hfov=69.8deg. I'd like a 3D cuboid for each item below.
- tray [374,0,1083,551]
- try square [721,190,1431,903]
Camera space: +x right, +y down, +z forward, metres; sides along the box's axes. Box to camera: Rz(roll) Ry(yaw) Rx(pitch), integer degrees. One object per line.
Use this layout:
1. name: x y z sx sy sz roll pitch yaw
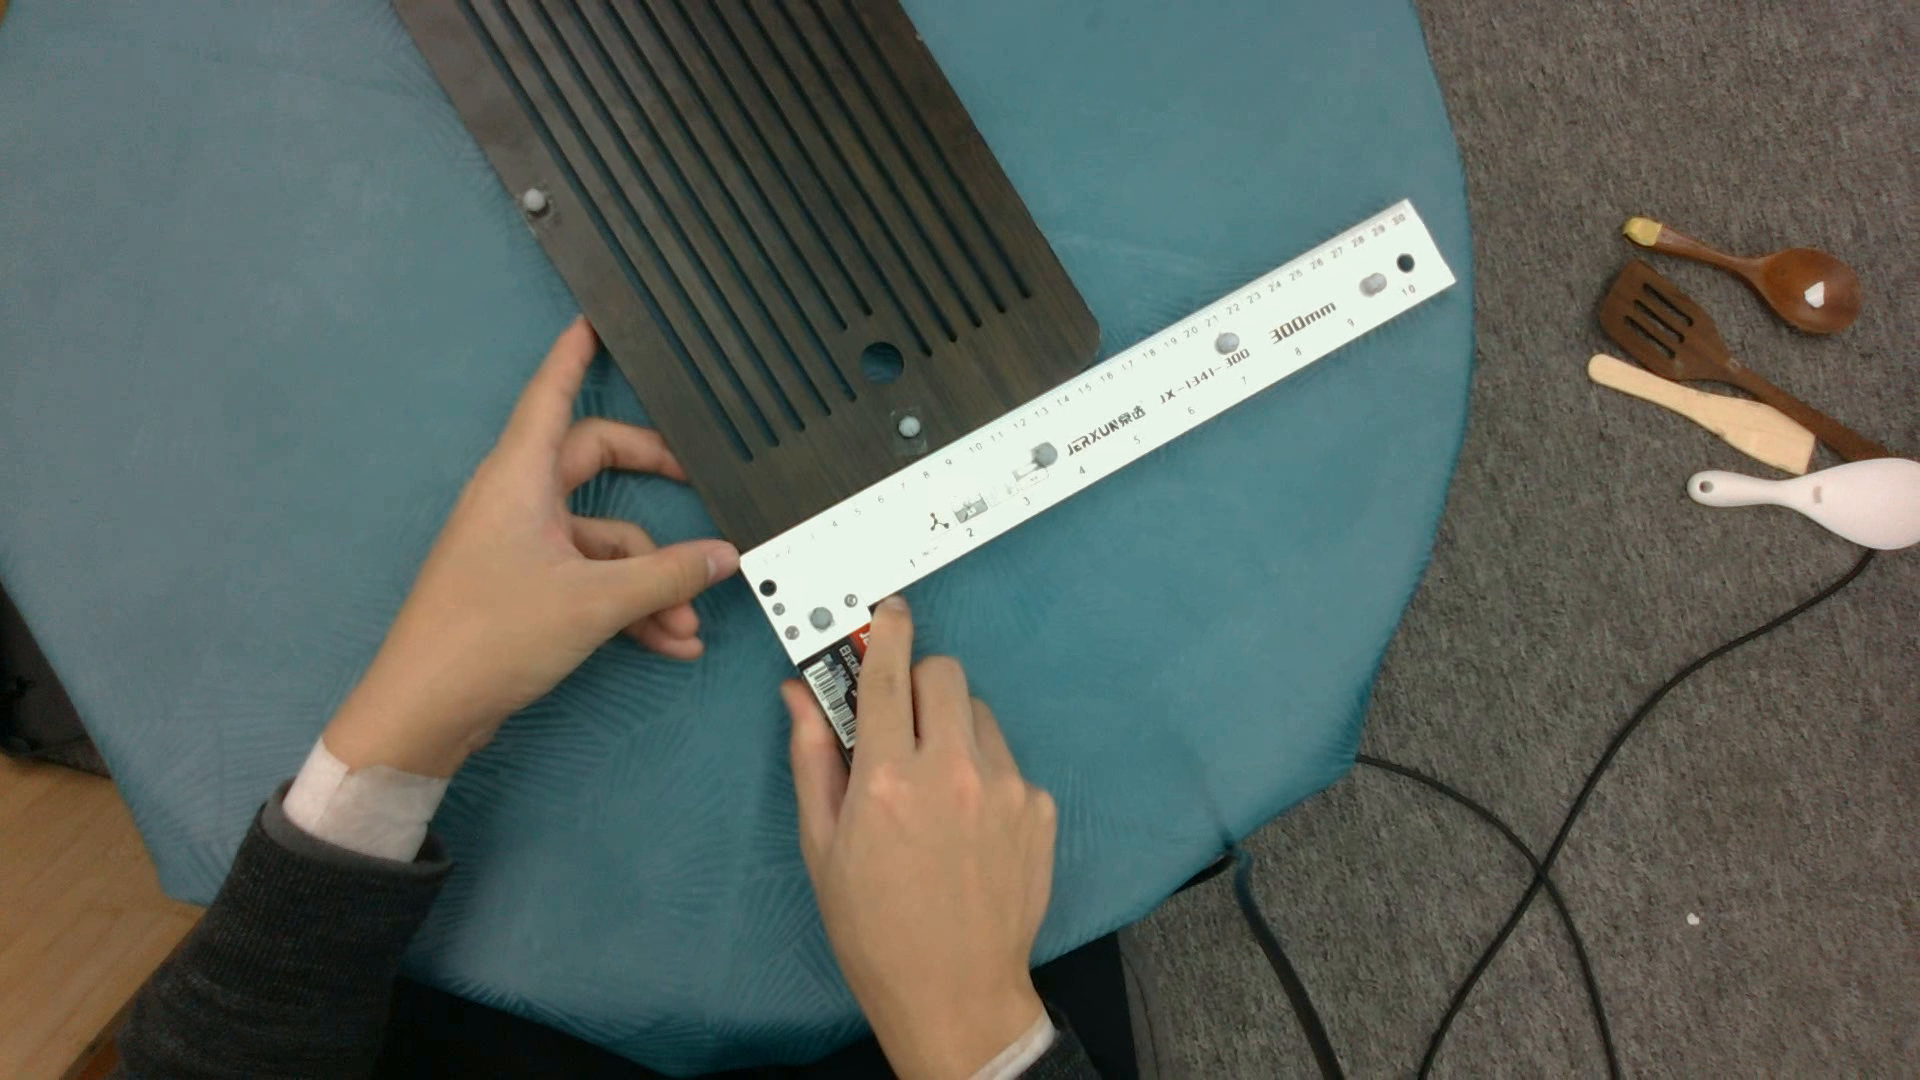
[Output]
1. tray: -0.098 -0.161 0.541 0.170 0.018 0.306 -32 89 -11
2. try square: 0.078 -0.005 0.541 0.313 0.016 0.152 -29 89 -10
